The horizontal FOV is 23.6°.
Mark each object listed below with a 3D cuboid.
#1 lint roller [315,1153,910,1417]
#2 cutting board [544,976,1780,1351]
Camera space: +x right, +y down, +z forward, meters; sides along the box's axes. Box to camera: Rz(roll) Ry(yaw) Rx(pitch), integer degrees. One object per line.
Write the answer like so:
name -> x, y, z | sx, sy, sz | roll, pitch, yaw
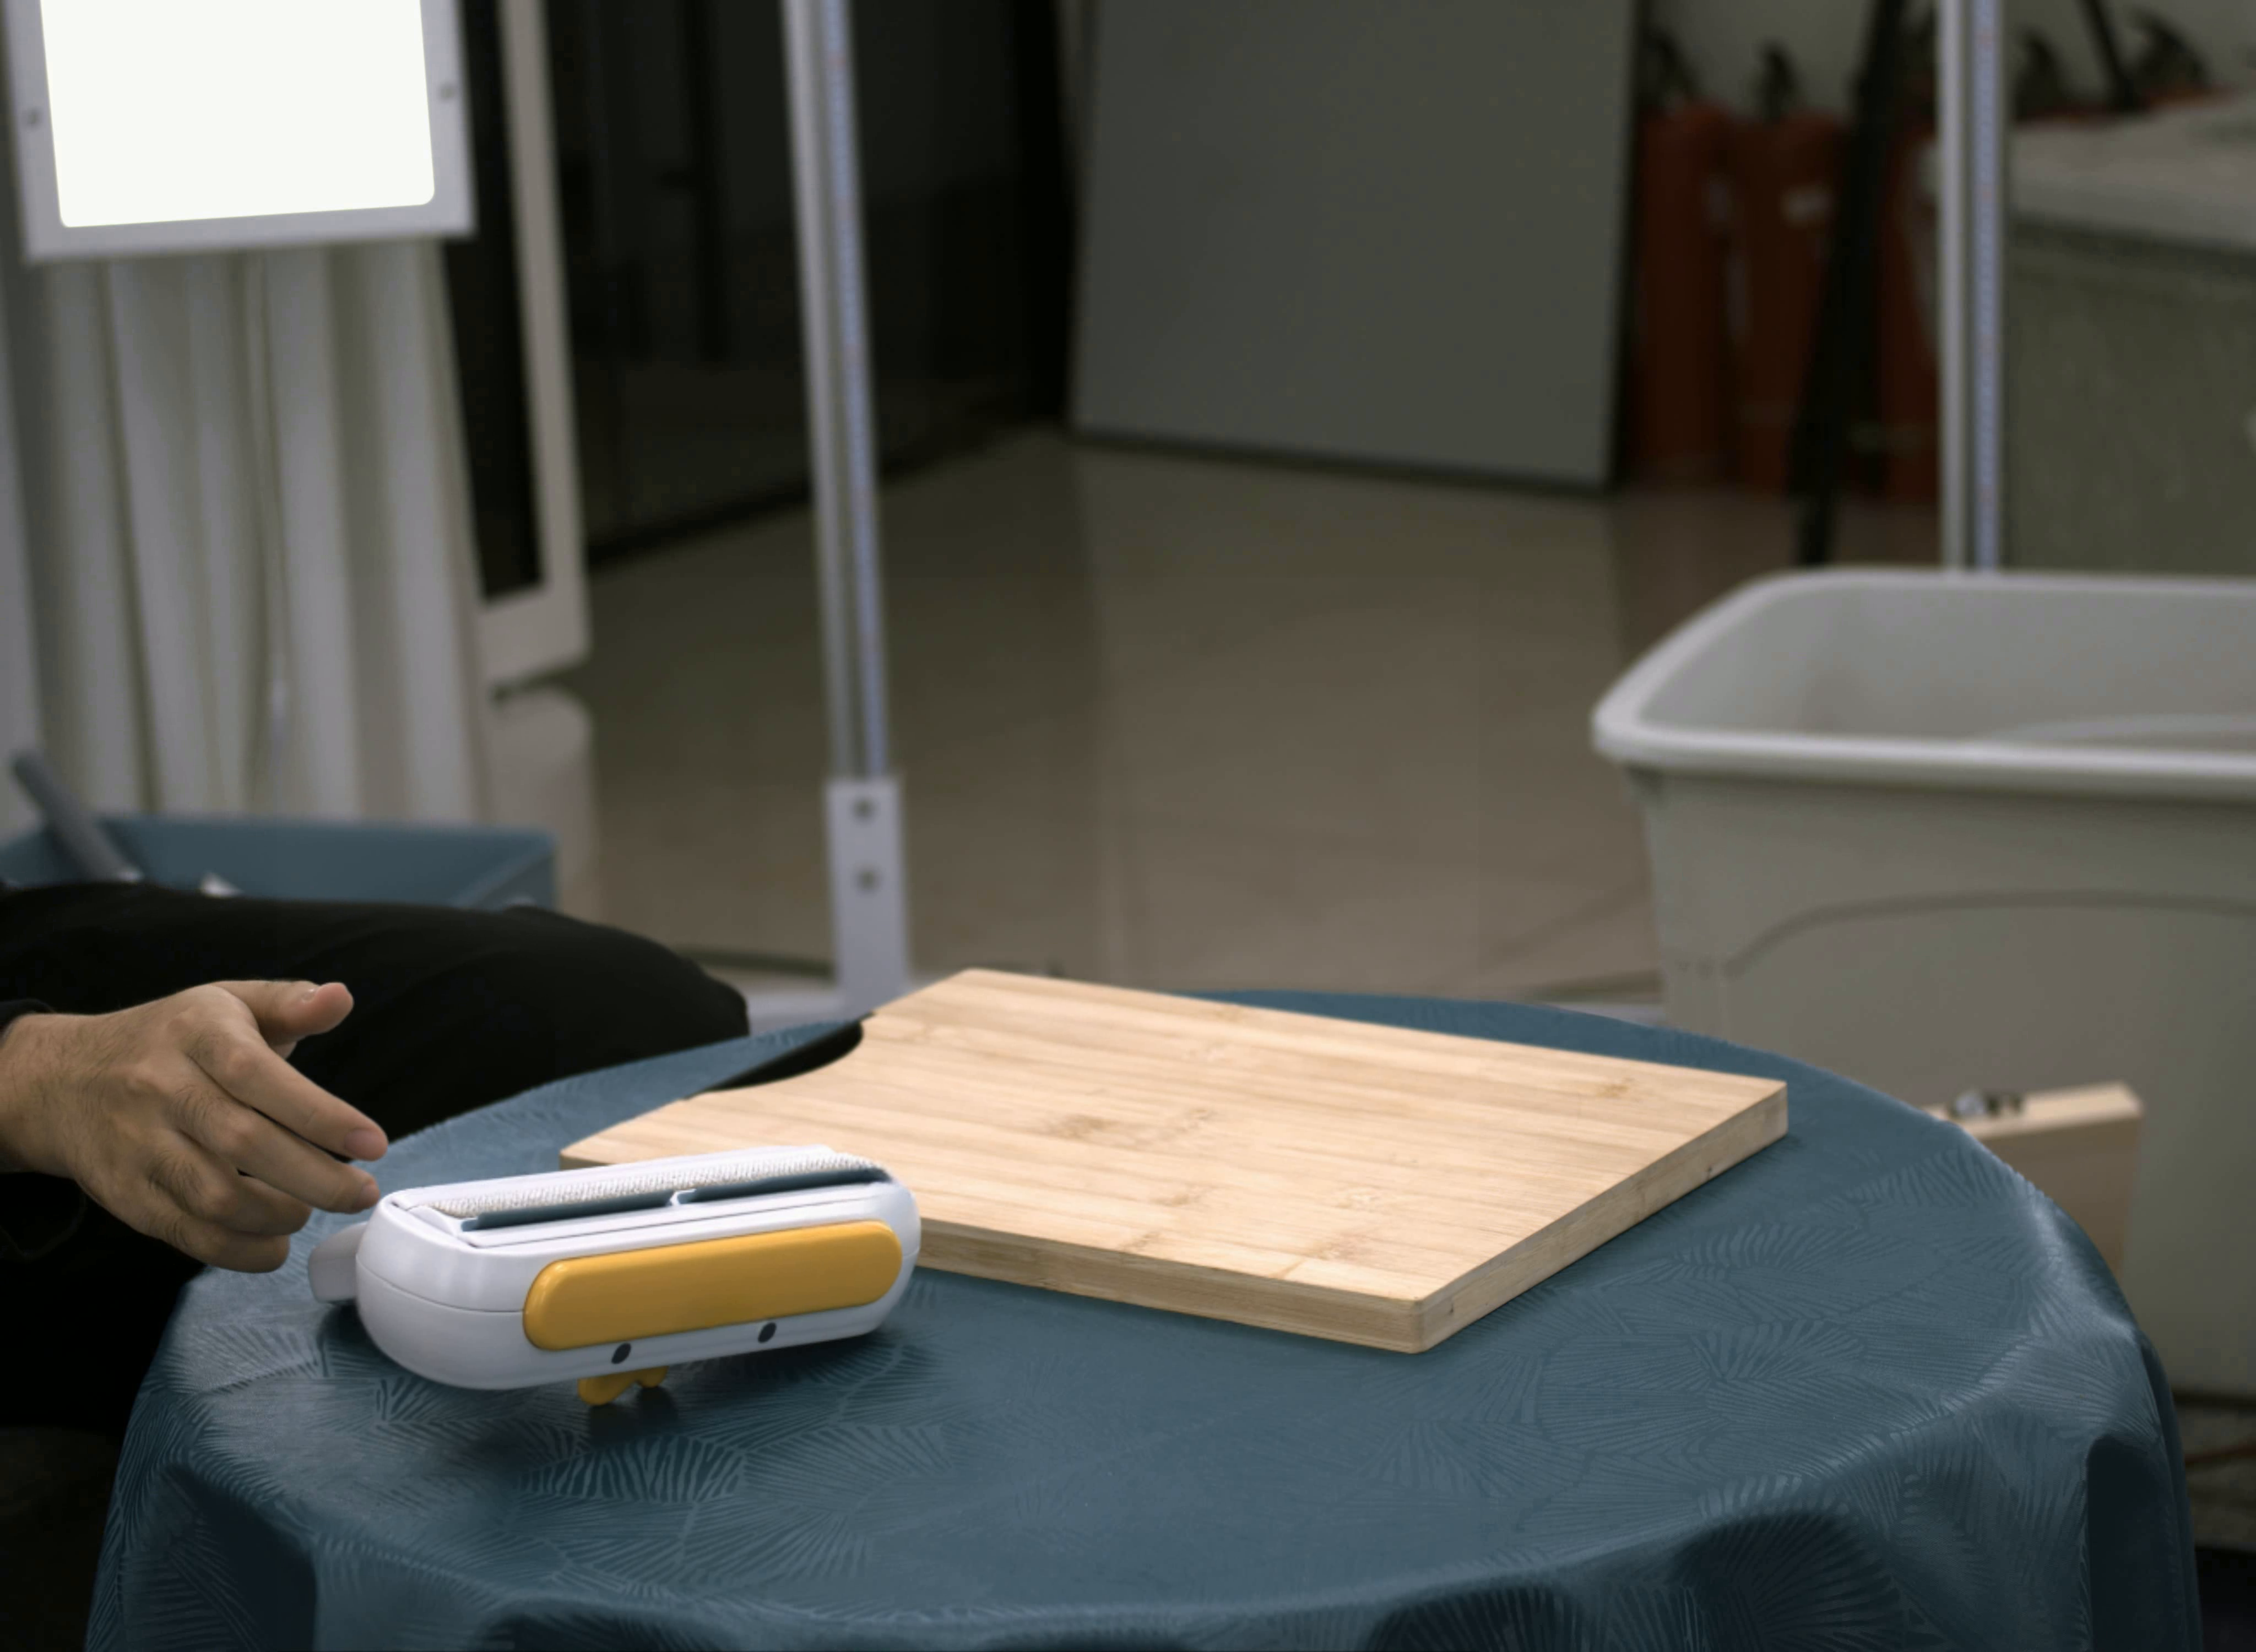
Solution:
lint roller -> -0.186, 0.131, 1.645 | 0.188, 0.075, 0.194 | -9, 12, -40
cutting board -> 0.011, 0.107, 1.794 | 0.351, 0.024, 0.246 | 6, 17, 35
